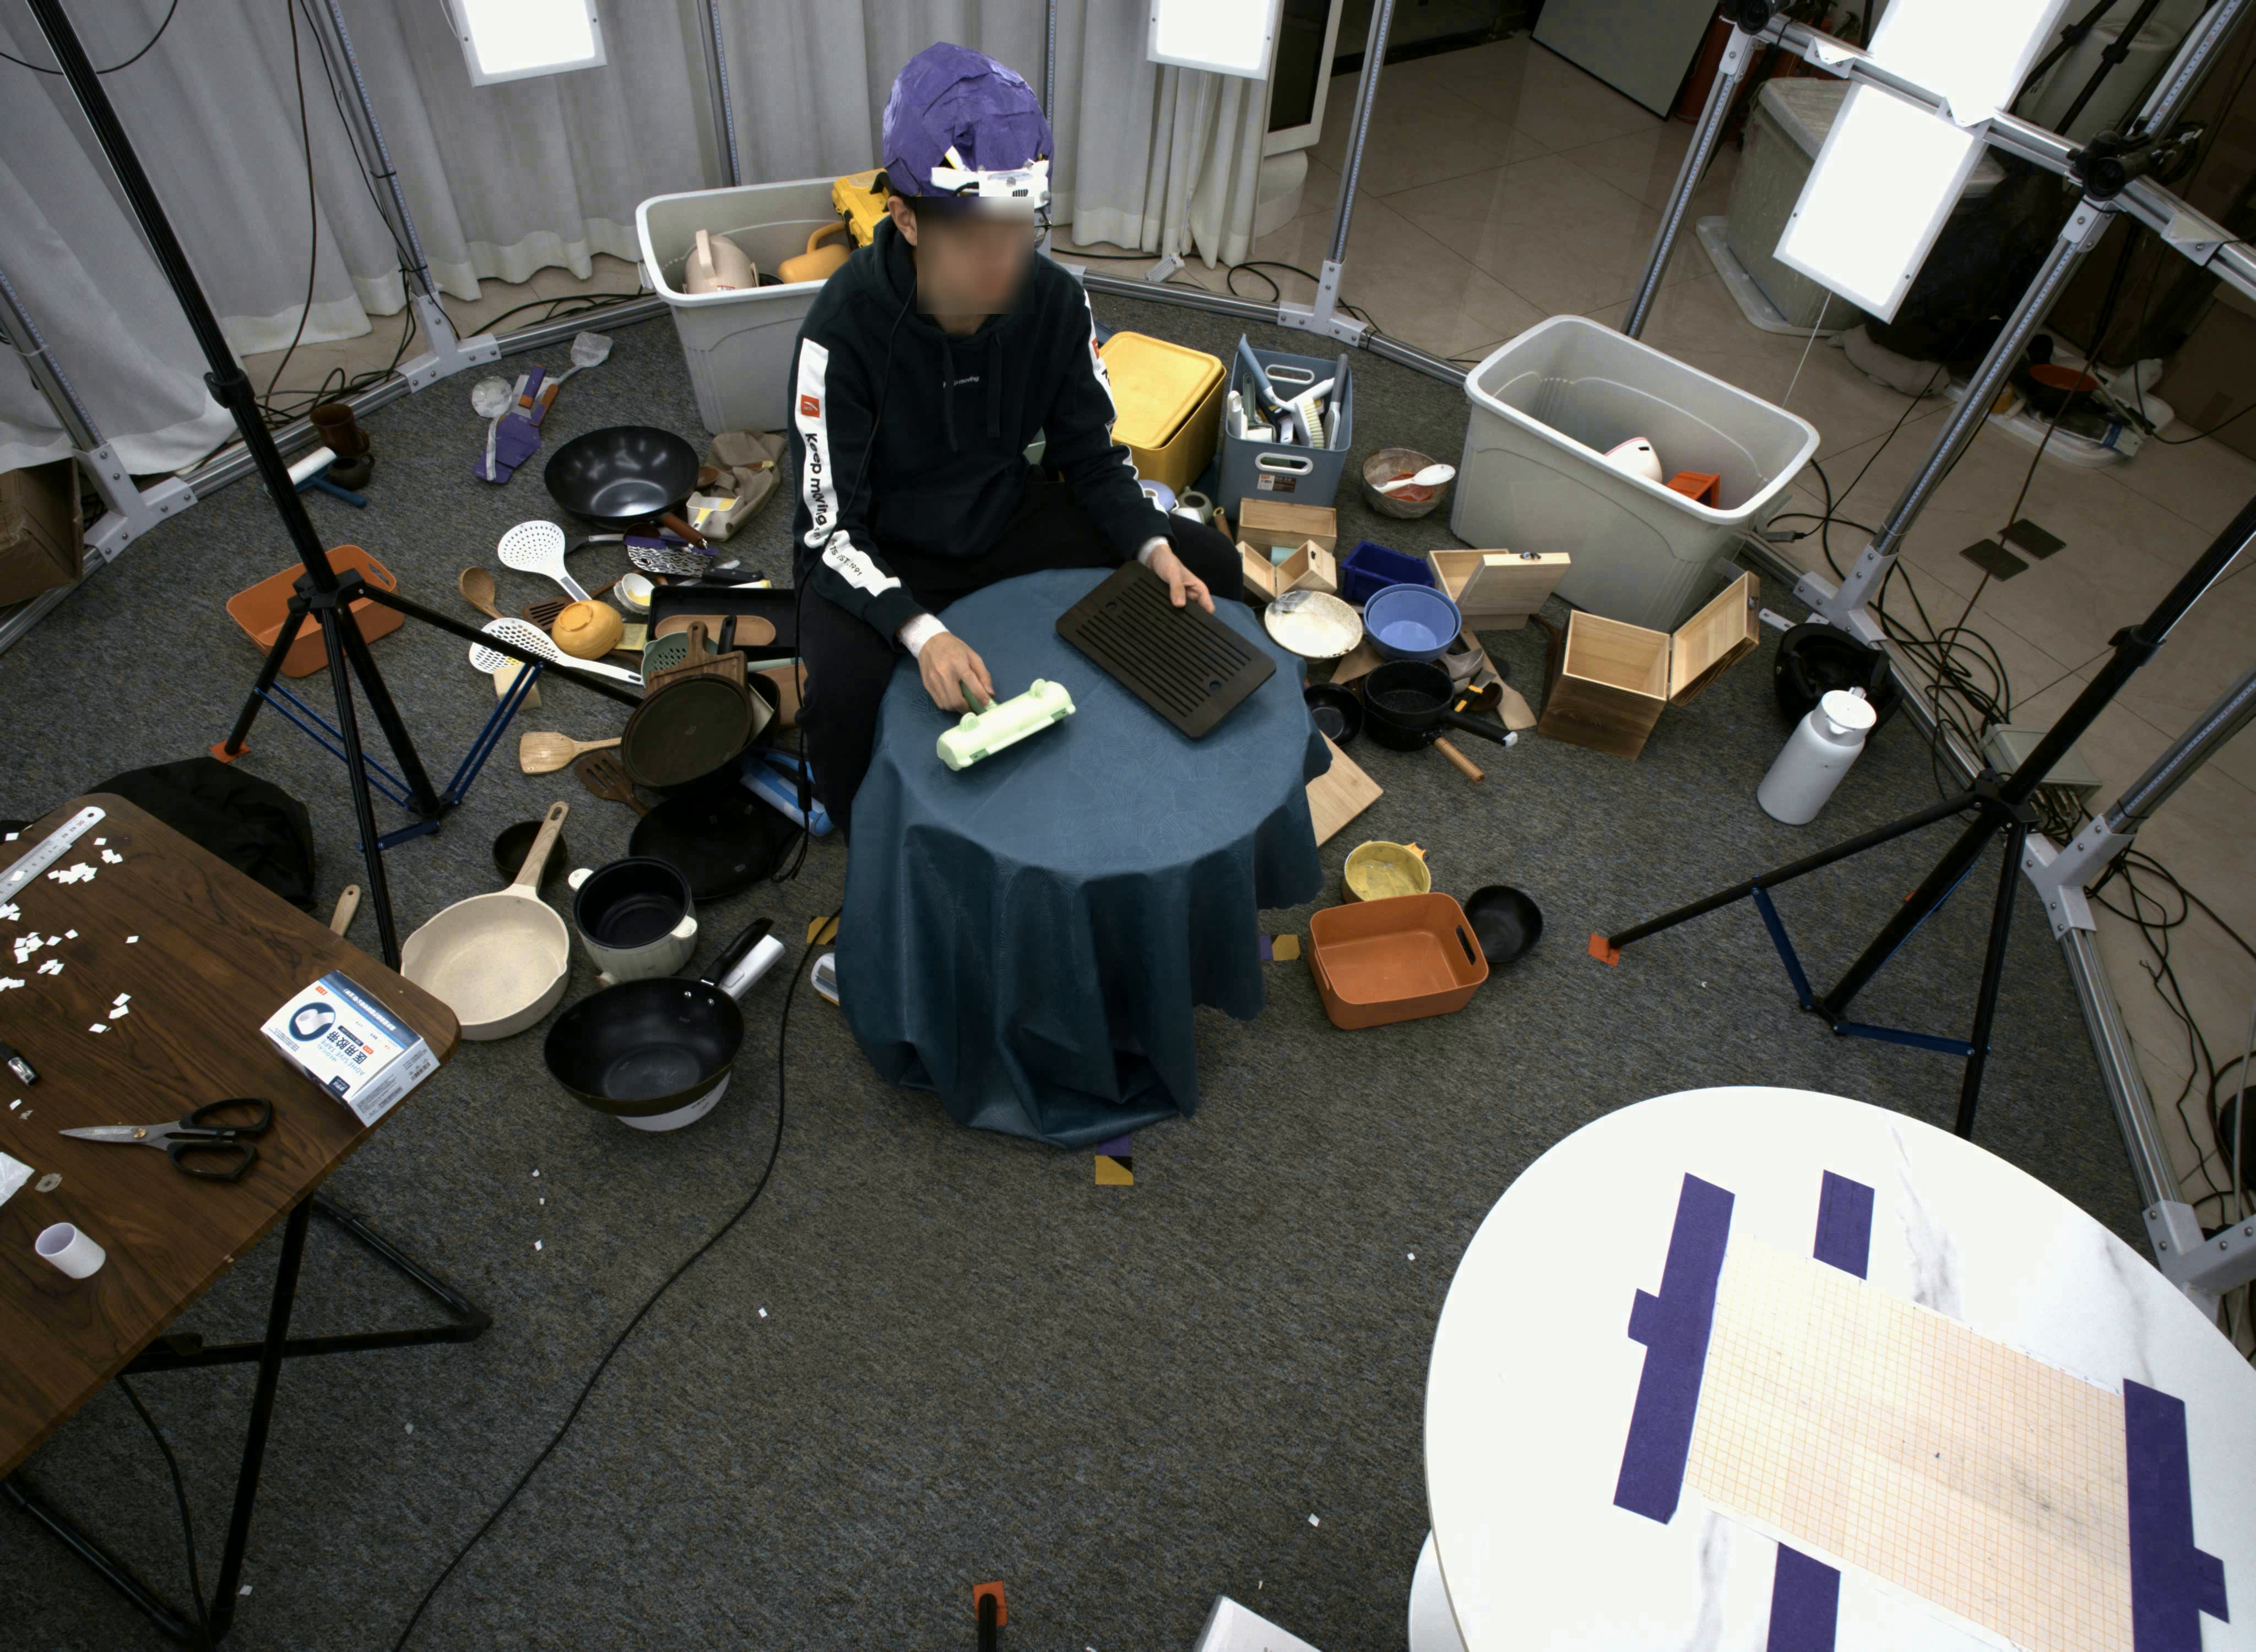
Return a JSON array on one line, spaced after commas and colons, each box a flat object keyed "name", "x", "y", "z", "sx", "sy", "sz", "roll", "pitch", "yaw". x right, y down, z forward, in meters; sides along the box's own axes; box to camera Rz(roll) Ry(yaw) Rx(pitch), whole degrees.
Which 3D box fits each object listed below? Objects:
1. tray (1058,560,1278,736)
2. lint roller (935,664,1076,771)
[{"name": "tray", "x": 0.055, "y": -0.261, "z": 1.856, "sx": 0.171, "sy": 0.018, "sz": 0.311, "roll": -41, "pitch": 60, "yaw": -15}, {"name": "lint roller", "x": -0.198, "y": -0.178, "z": 1.749, "sx": 0.200, "sy": 0.080, "sz": 0.186, "roll": -29, "pitch": 64, "yaw": -29}]
